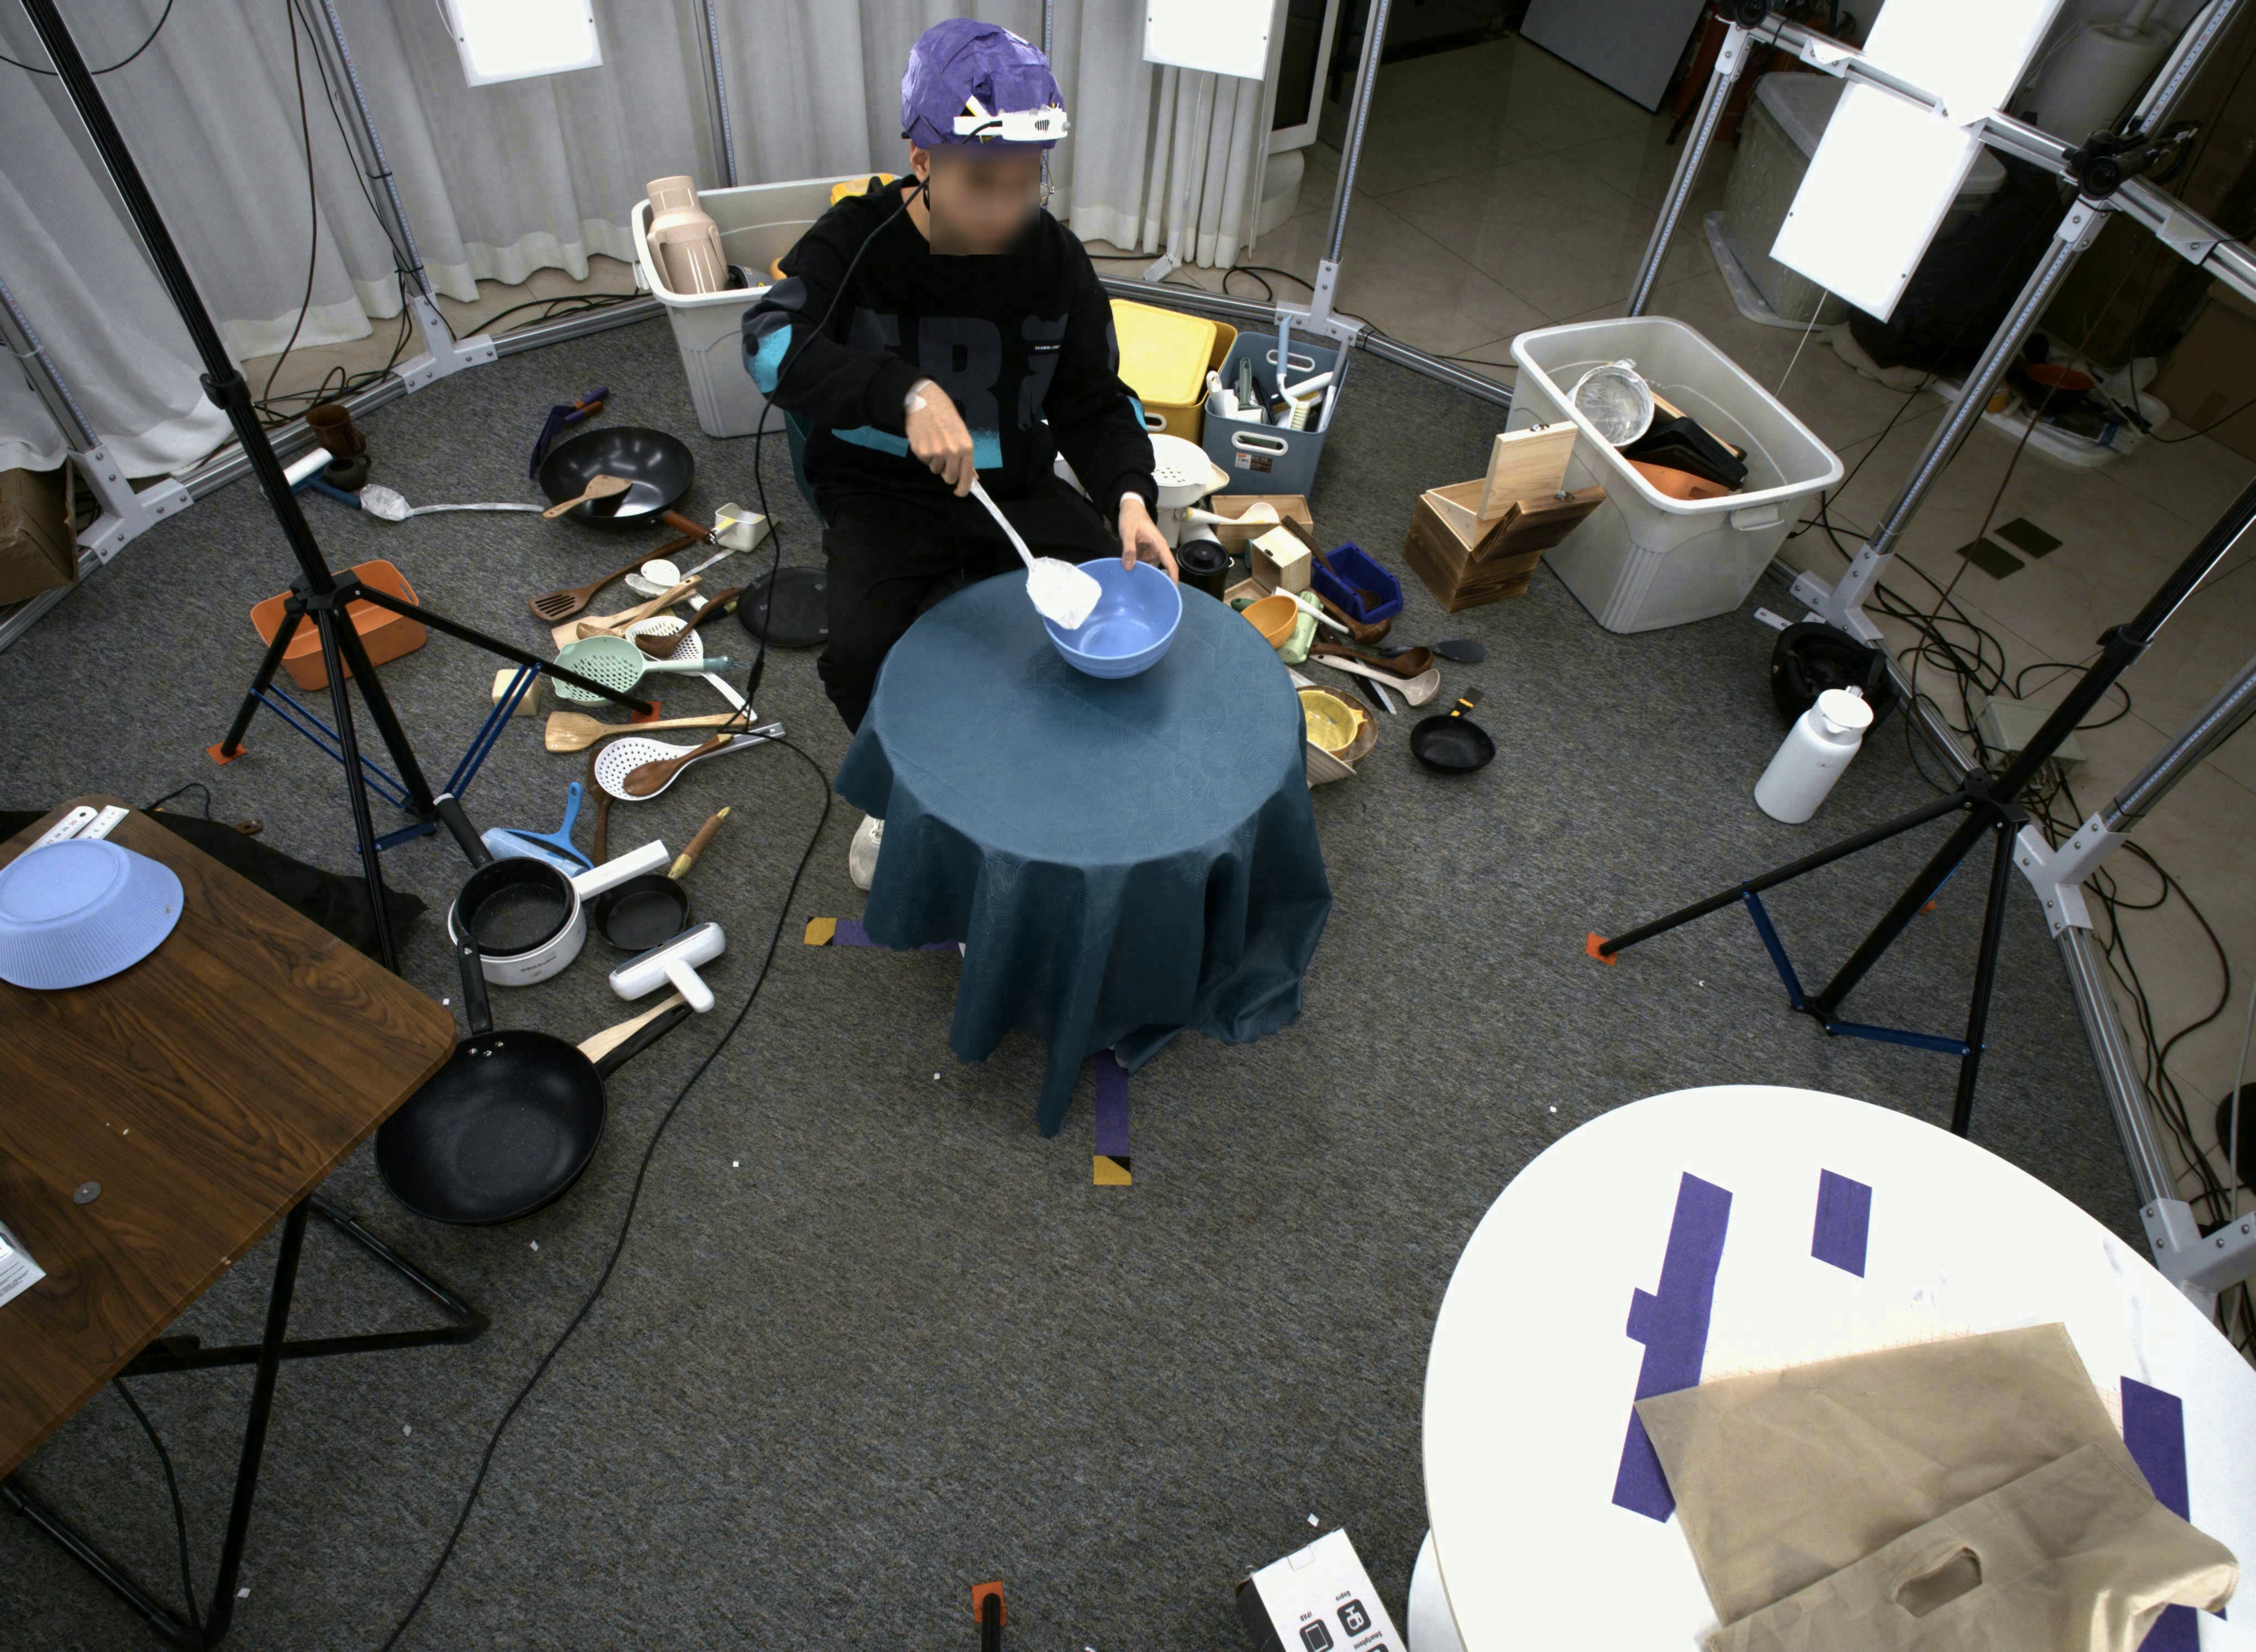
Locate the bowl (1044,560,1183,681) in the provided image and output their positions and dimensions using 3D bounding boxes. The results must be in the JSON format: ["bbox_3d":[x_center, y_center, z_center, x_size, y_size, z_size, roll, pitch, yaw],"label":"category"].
[{"bbox_3d":[-0.019,-0.281,1.853,0.196,0.093,0.201,-2,54,2],"label":"bowl"}]

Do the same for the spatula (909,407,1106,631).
[{"bbox_3d":[-0.168,-0.418,1.754,0.045,0.359,0.100,-8,40,52],"label":"spatula"}]
